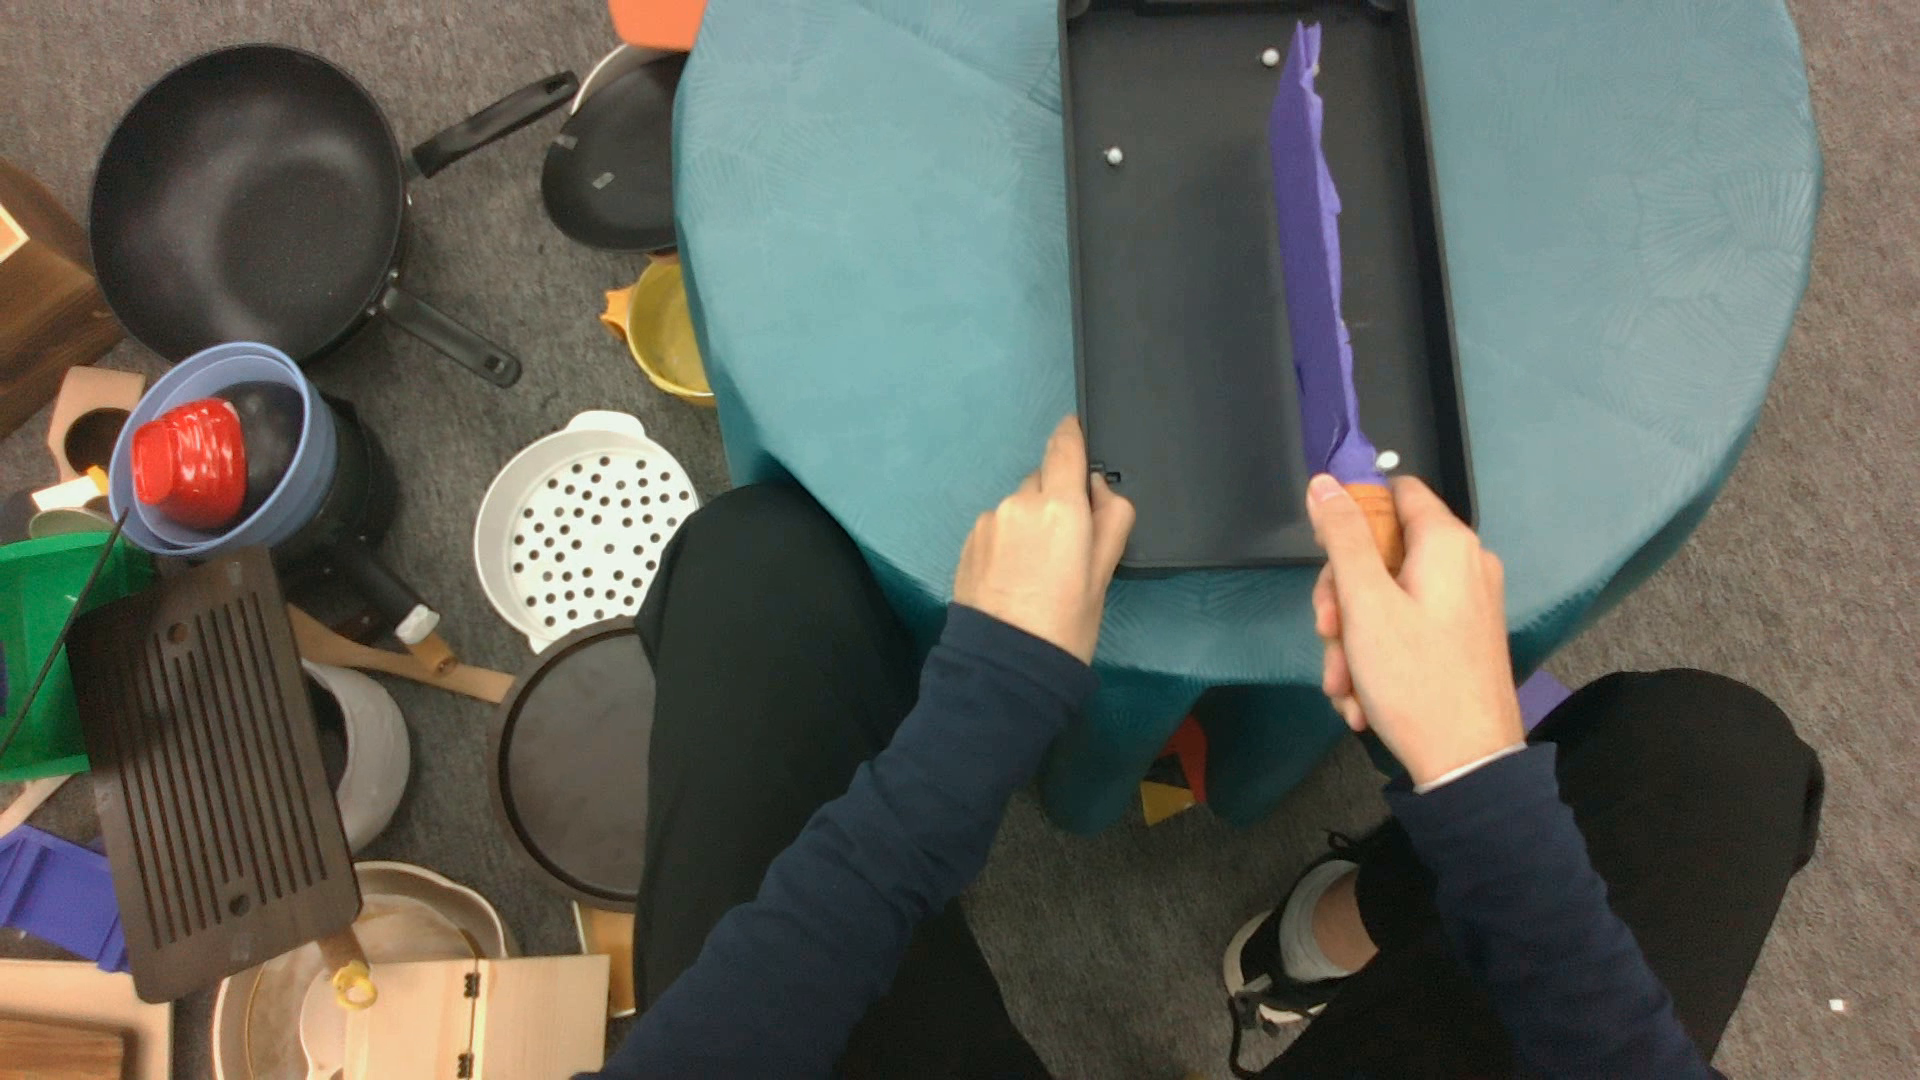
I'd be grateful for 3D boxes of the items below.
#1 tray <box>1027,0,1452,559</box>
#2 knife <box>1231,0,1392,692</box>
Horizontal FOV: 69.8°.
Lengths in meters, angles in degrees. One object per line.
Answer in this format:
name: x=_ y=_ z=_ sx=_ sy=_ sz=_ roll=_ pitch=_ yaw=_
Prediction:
tray: x=0.133 y=-0.149 z=0.693 sx=0.184 sy=0.037 sz=0.318 roll=-3 pitch=76 yaw=-3
knife: x=0.154 y=-0.087 z=0.624 sx=0.032 sy=0.104 sz=0.316 roll=-5 pitch=78 yaw=5
